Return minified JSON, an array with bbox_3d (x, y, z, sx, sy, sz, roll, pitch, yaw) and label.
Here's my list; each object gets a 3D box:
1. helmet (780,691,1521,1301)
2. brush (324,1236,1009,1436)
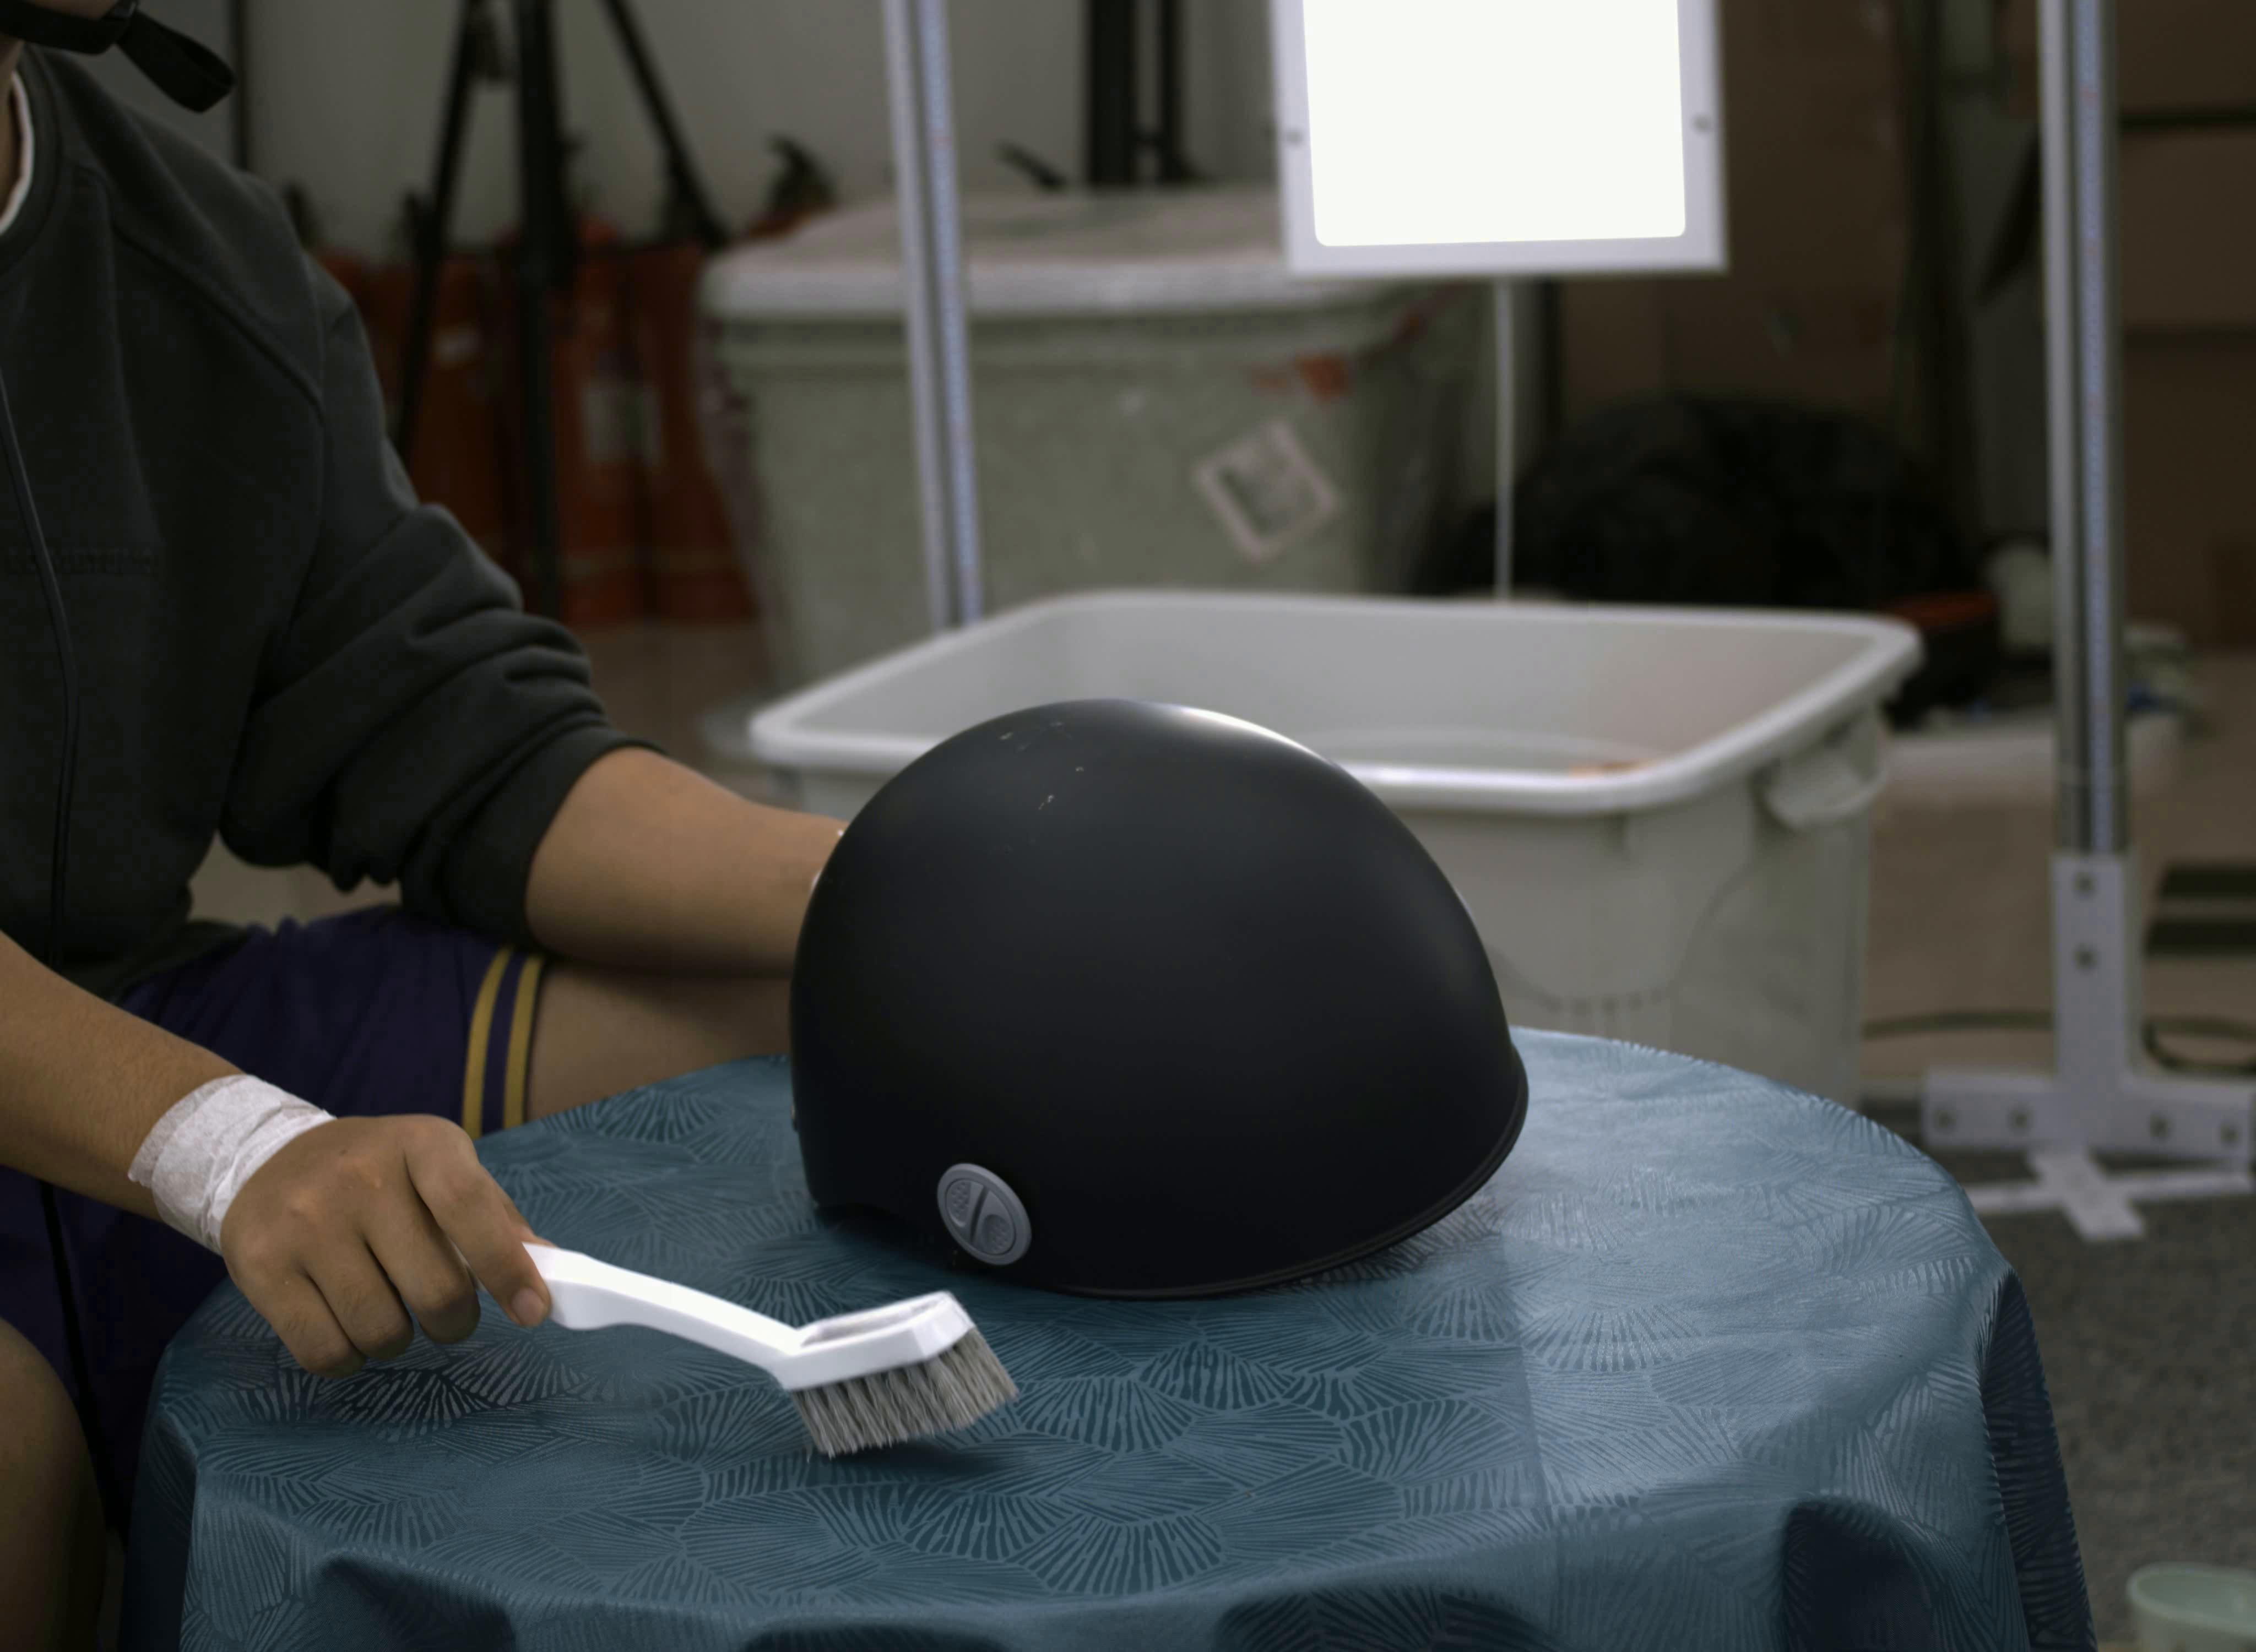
[{"bbox_3d":[-0.003,0.043,1.865,0.225,0.167,0.278,-30,26,-28],"label":"helmet"},{"bbox_3d":[-0.146,0.156,1.699,0.248,0.050,0.033,1,18,32],"label":"brush"}]
